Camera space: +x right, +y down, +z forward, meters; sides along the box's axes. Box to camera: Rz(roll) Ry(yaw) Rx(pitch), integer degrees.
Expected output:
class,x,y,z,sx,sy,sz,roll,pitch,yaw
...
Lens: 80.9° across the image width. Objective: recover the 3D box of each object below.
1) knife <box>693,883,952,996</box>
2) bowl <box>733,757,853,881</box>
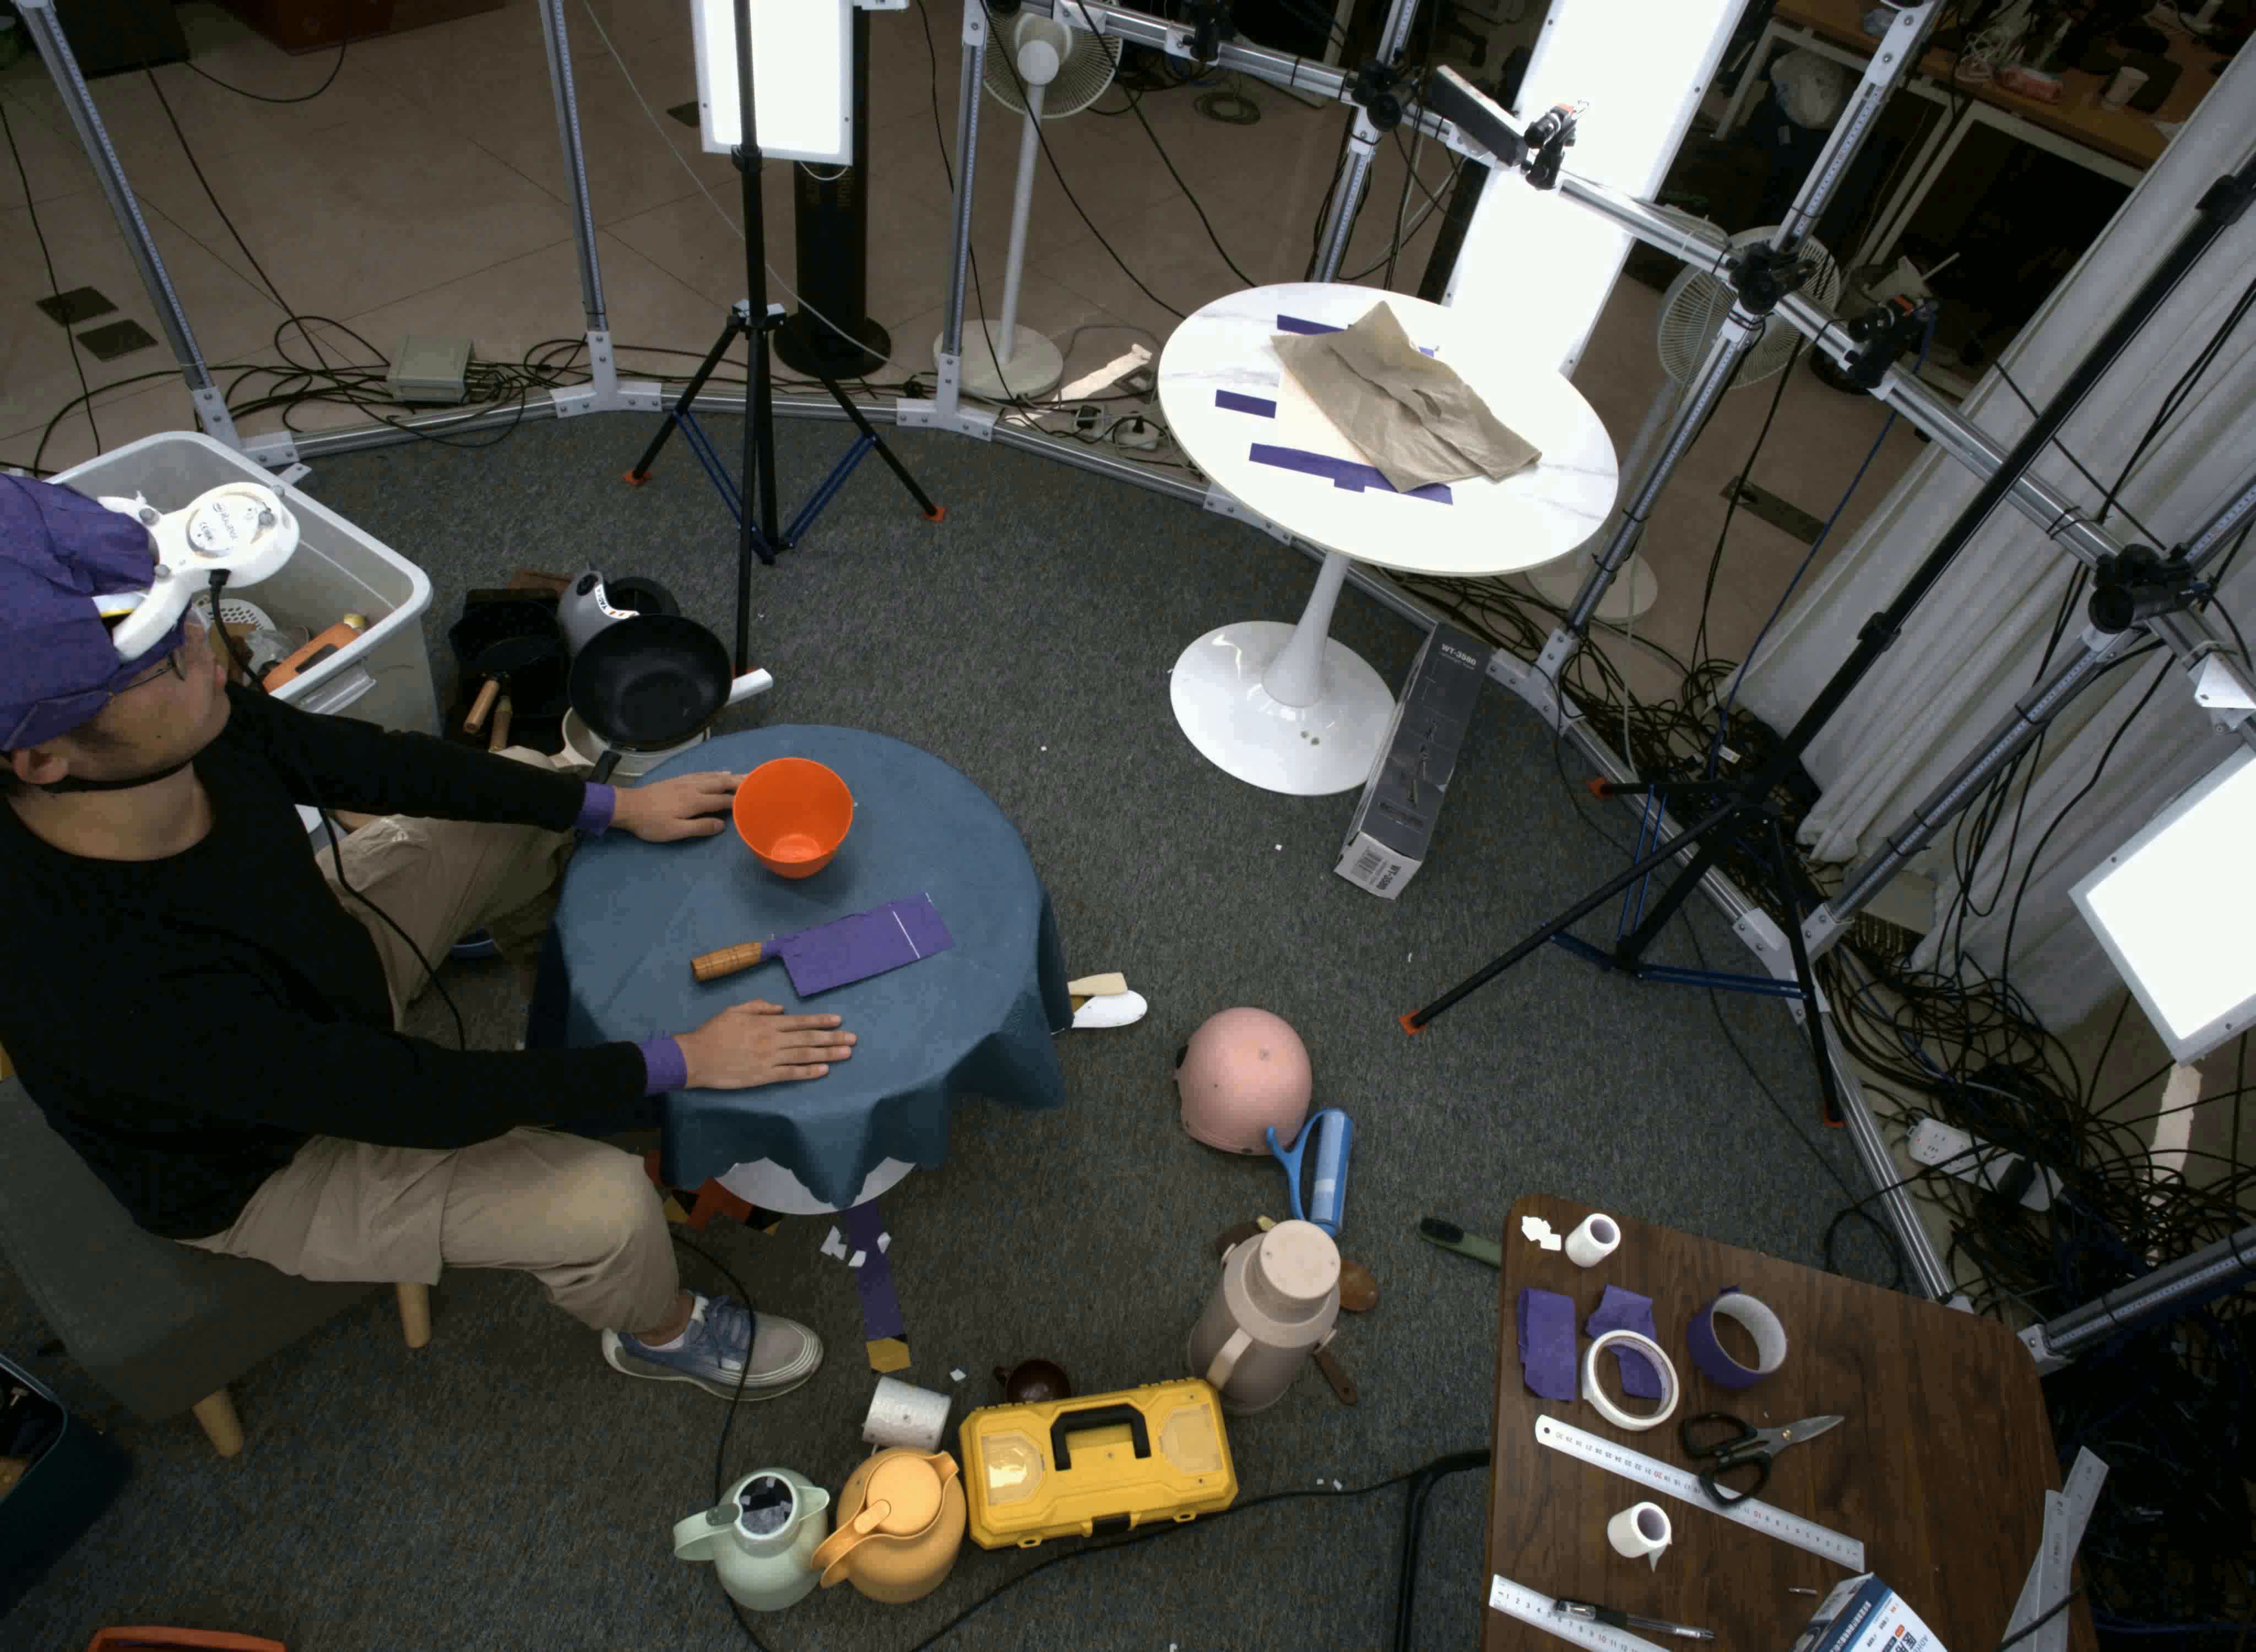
class,x,y,z,sx,sy,sz,roll,pitch,yaw
knife,-0.371,0.153,1.603,0.317,0.033,0.101,-20,60,-27
bowl,-0.426,0.002,1.654,0.148,0.106,0.145,8,52,-9
